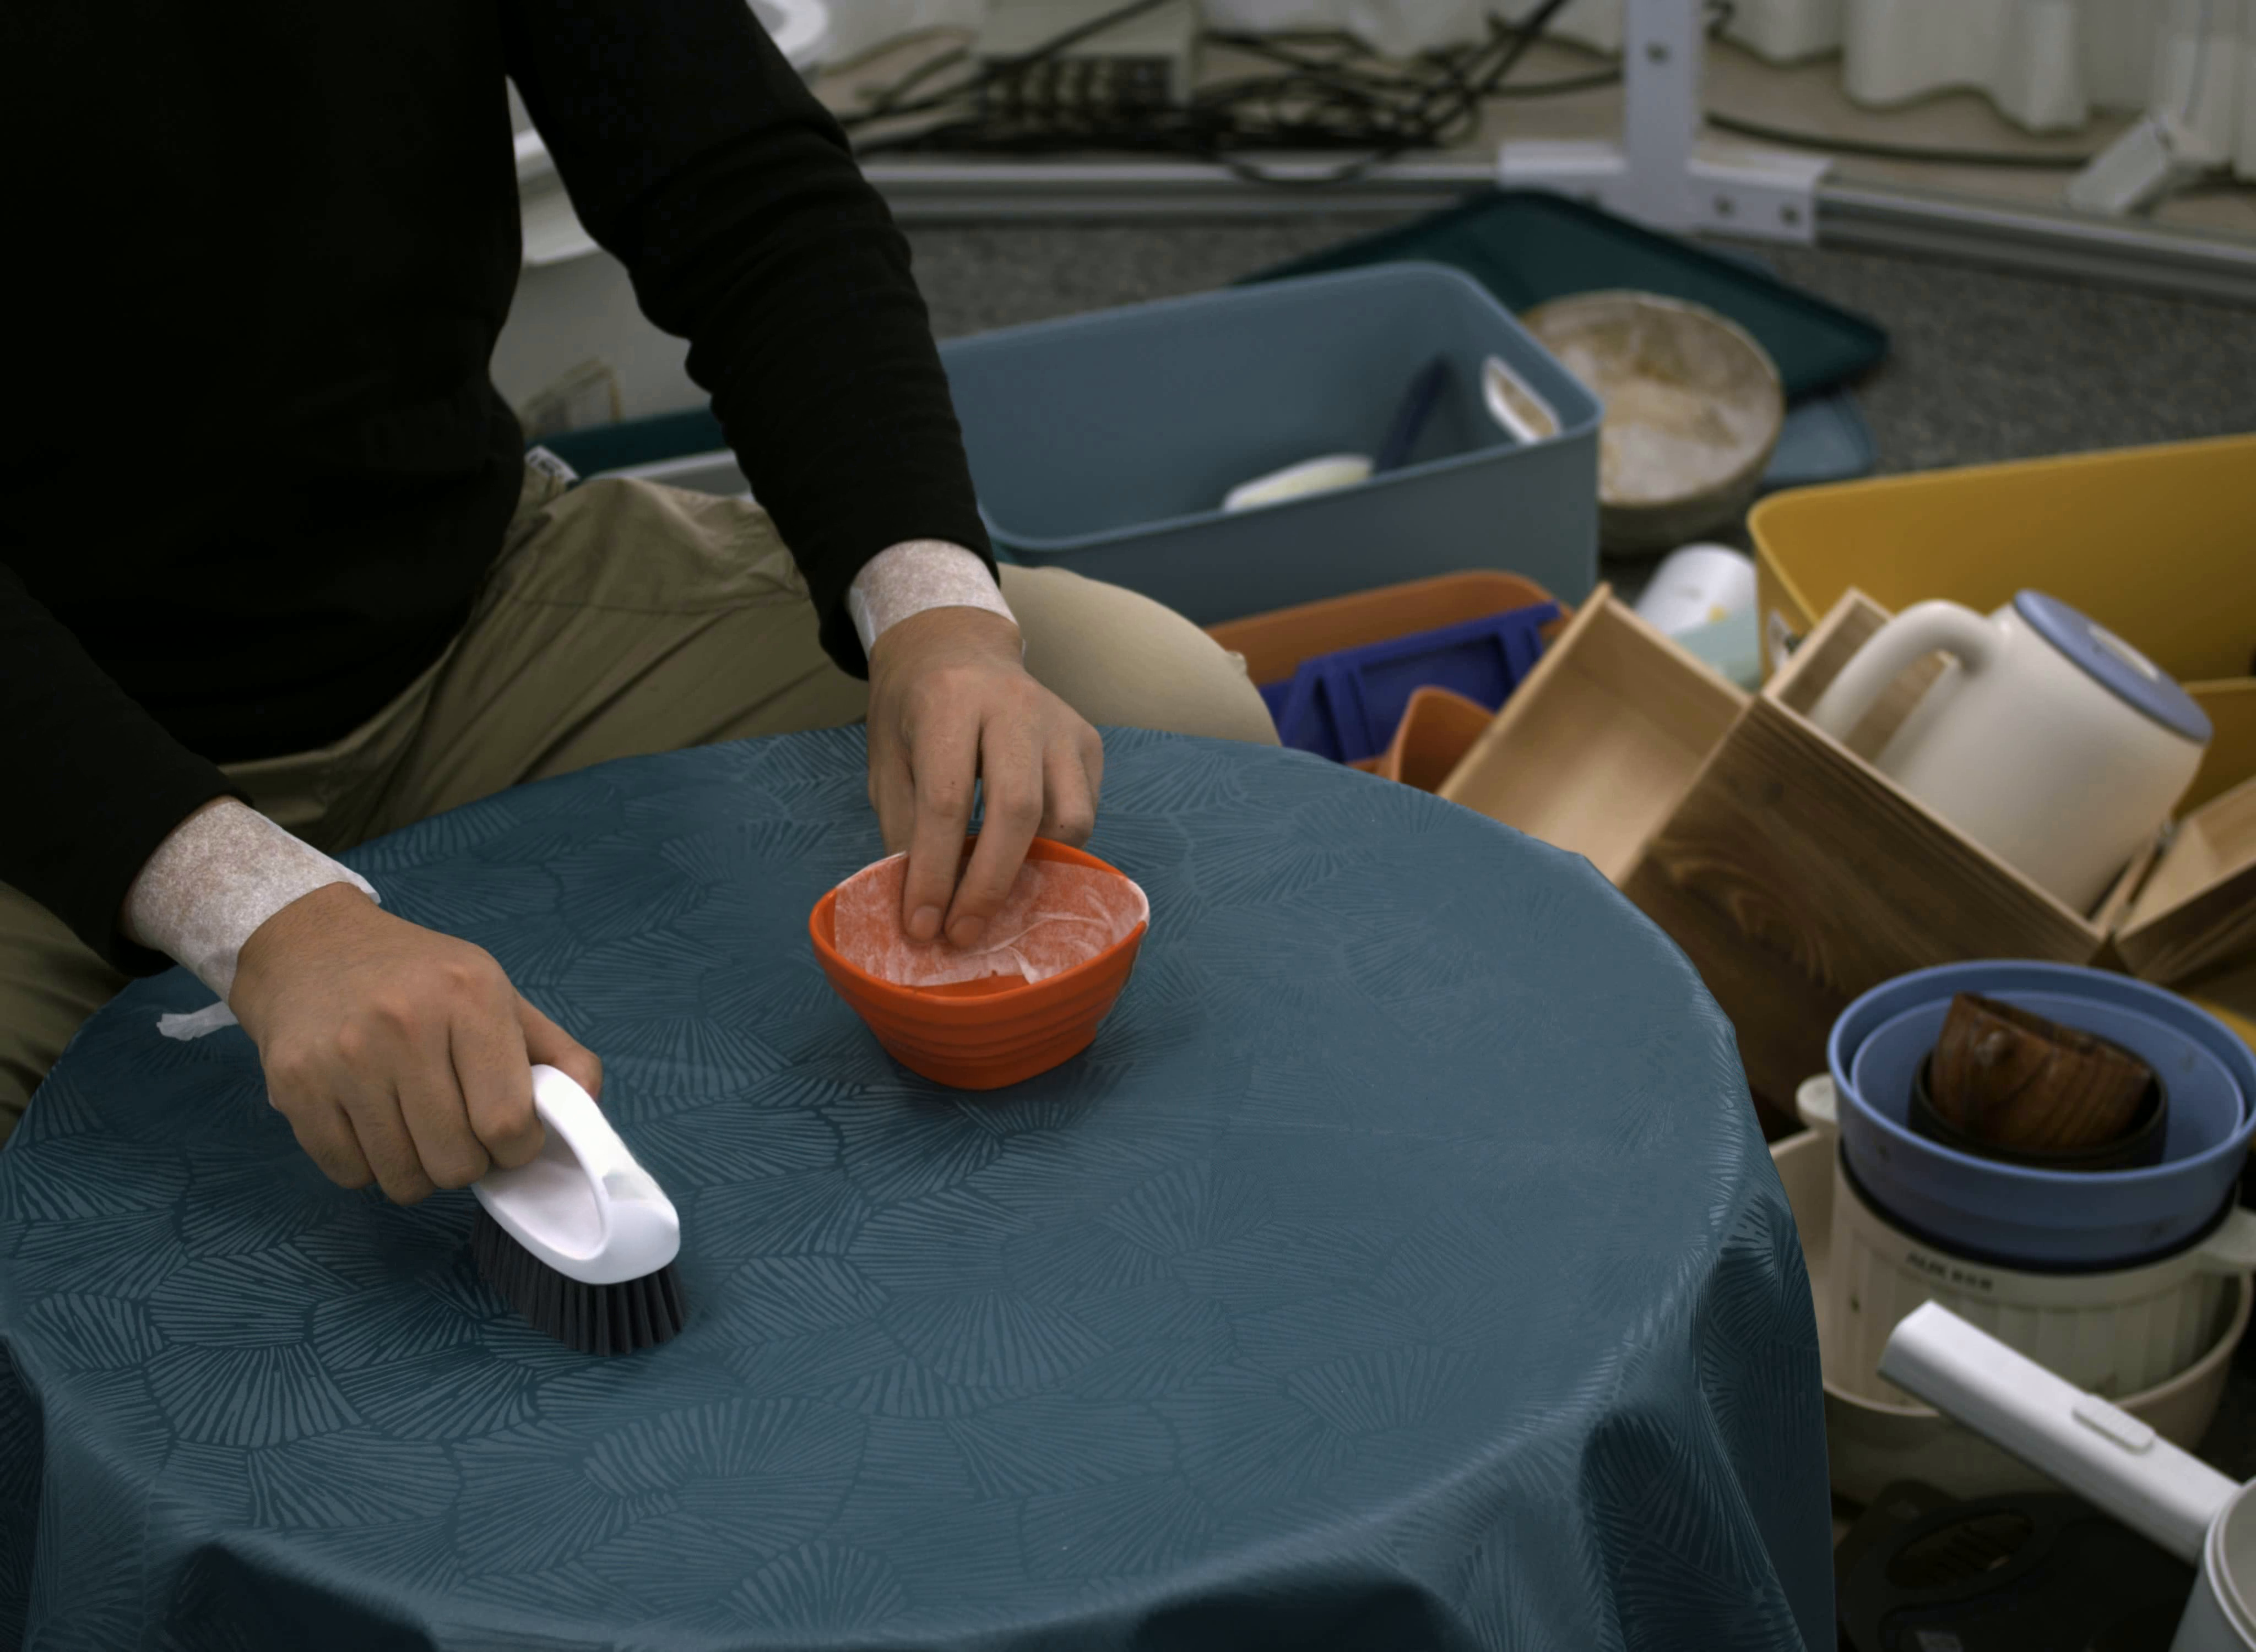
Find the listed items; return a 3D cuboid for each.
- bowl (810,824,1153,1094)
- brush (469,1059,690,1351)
[{"bbox_3d":[-0.050,0.050,1.946,0.118,0.051,0.121,-2,31,1],"label":"bowl"},{"bbox_3d":[-0.180,0.116,1.811,0.050,0.072,0.099,-17,31,-25],"label":"brush"}]
